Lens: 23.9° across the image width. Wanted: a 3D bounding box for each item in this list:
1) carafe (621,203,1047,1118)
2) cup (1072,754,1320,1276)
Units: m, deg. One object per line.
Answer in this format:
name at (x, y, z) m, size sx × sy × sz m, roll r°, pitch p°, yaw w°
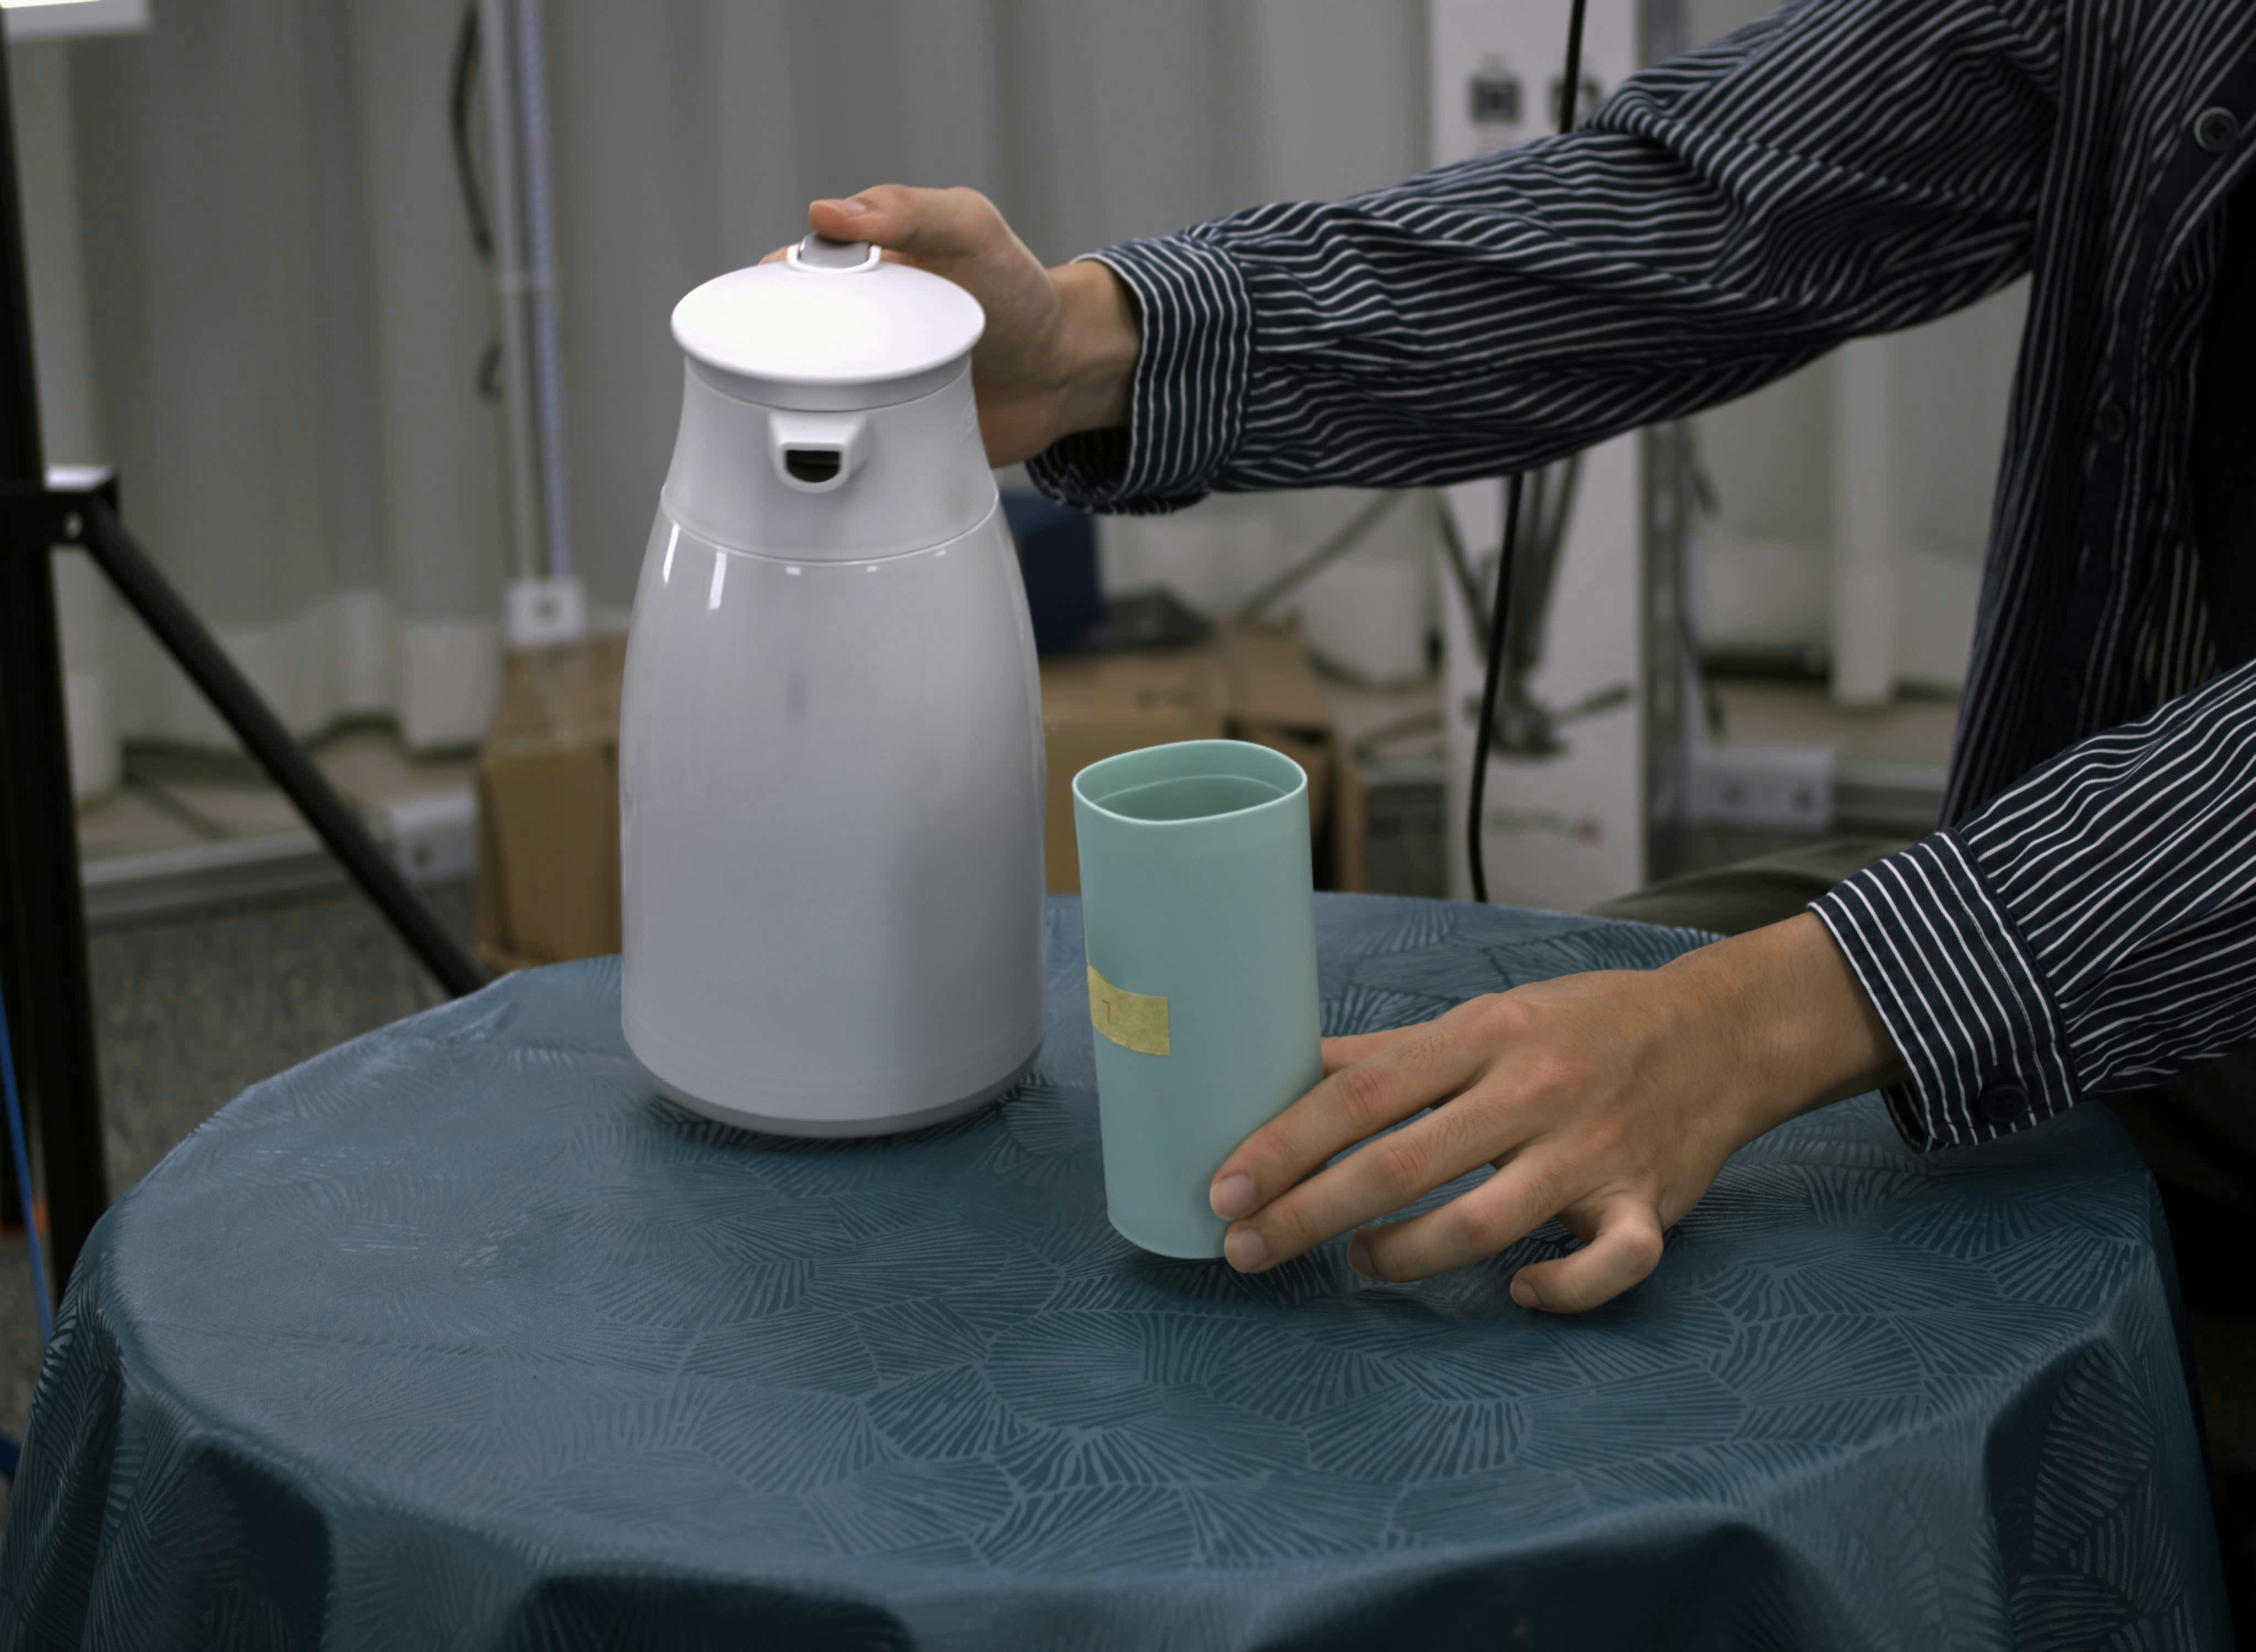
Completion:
carafe at (-0.091, -0.060, 1.625) m, size 0.132 × 0.248 × 0.169 m, roll 0°, pitch 26°, yaw -1°
cup at (0.021, 0.052, 1.480) m, size 0.066 × 0.132 × 0.067 m, roll -3°, pitch 19°, yaw 0°
